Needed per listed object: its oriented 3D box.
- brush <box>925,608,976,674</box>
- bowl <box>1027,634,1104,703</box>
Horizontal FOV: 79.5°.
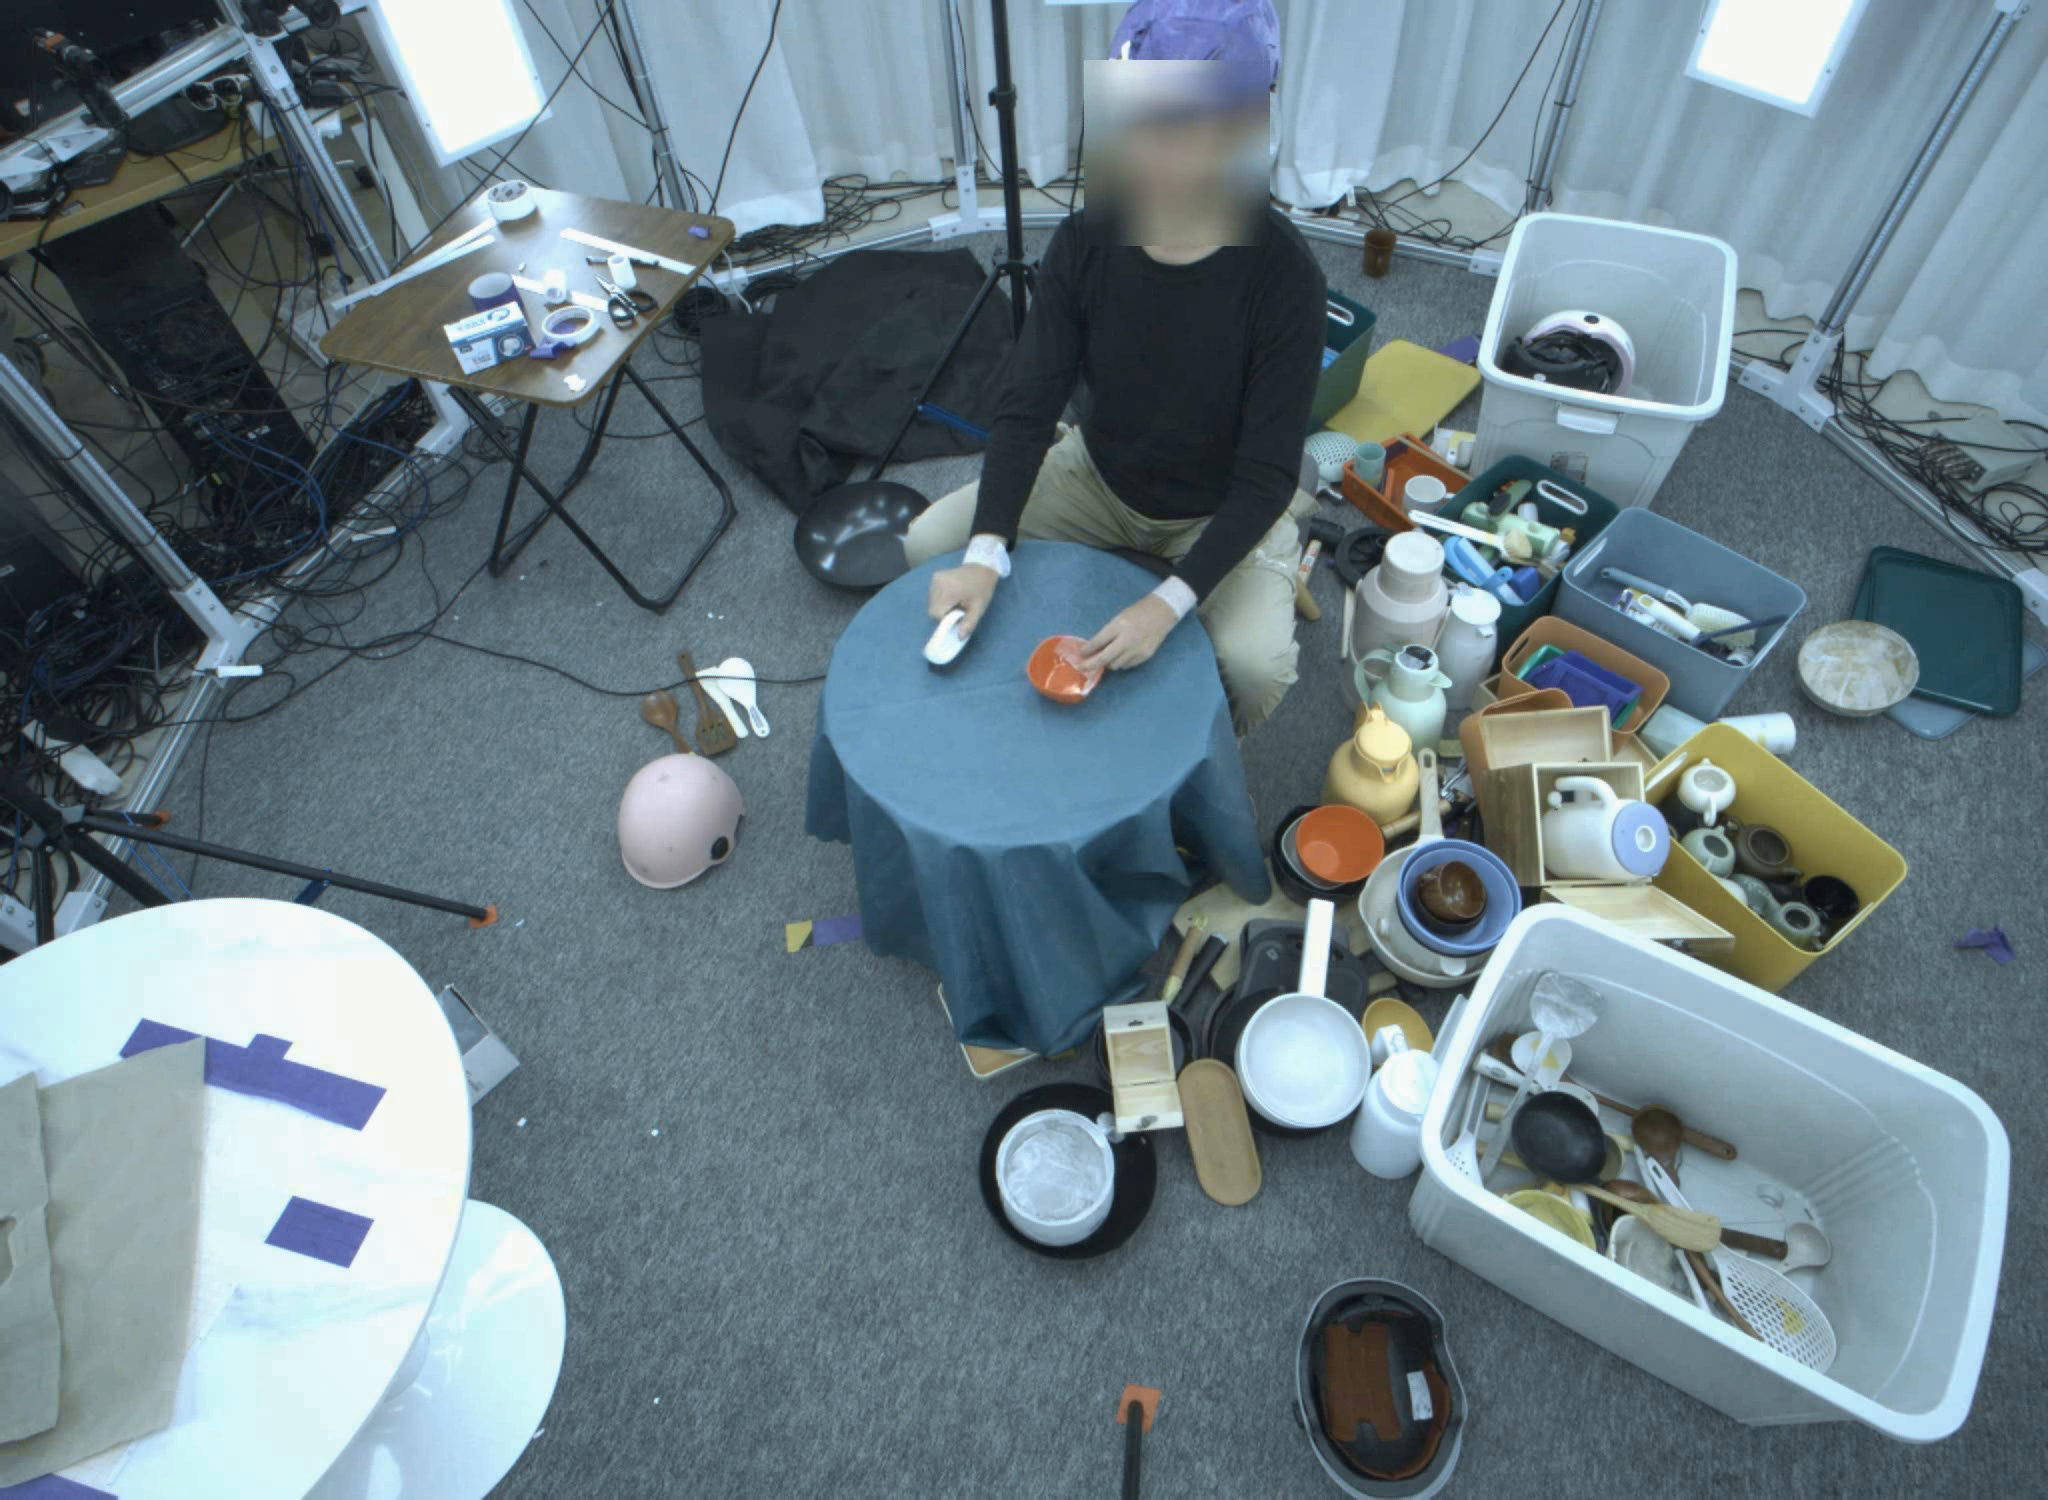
[{"bbox_3d":[-0.115,-0.174,1.869,0.049,0.073,0.099,25,60,20],"label":"brush"},{"bbox_3d":[0.064,-0.114,1.834,0.118,0.052,0.118,-2,57,4],"label":"bowl"}]
